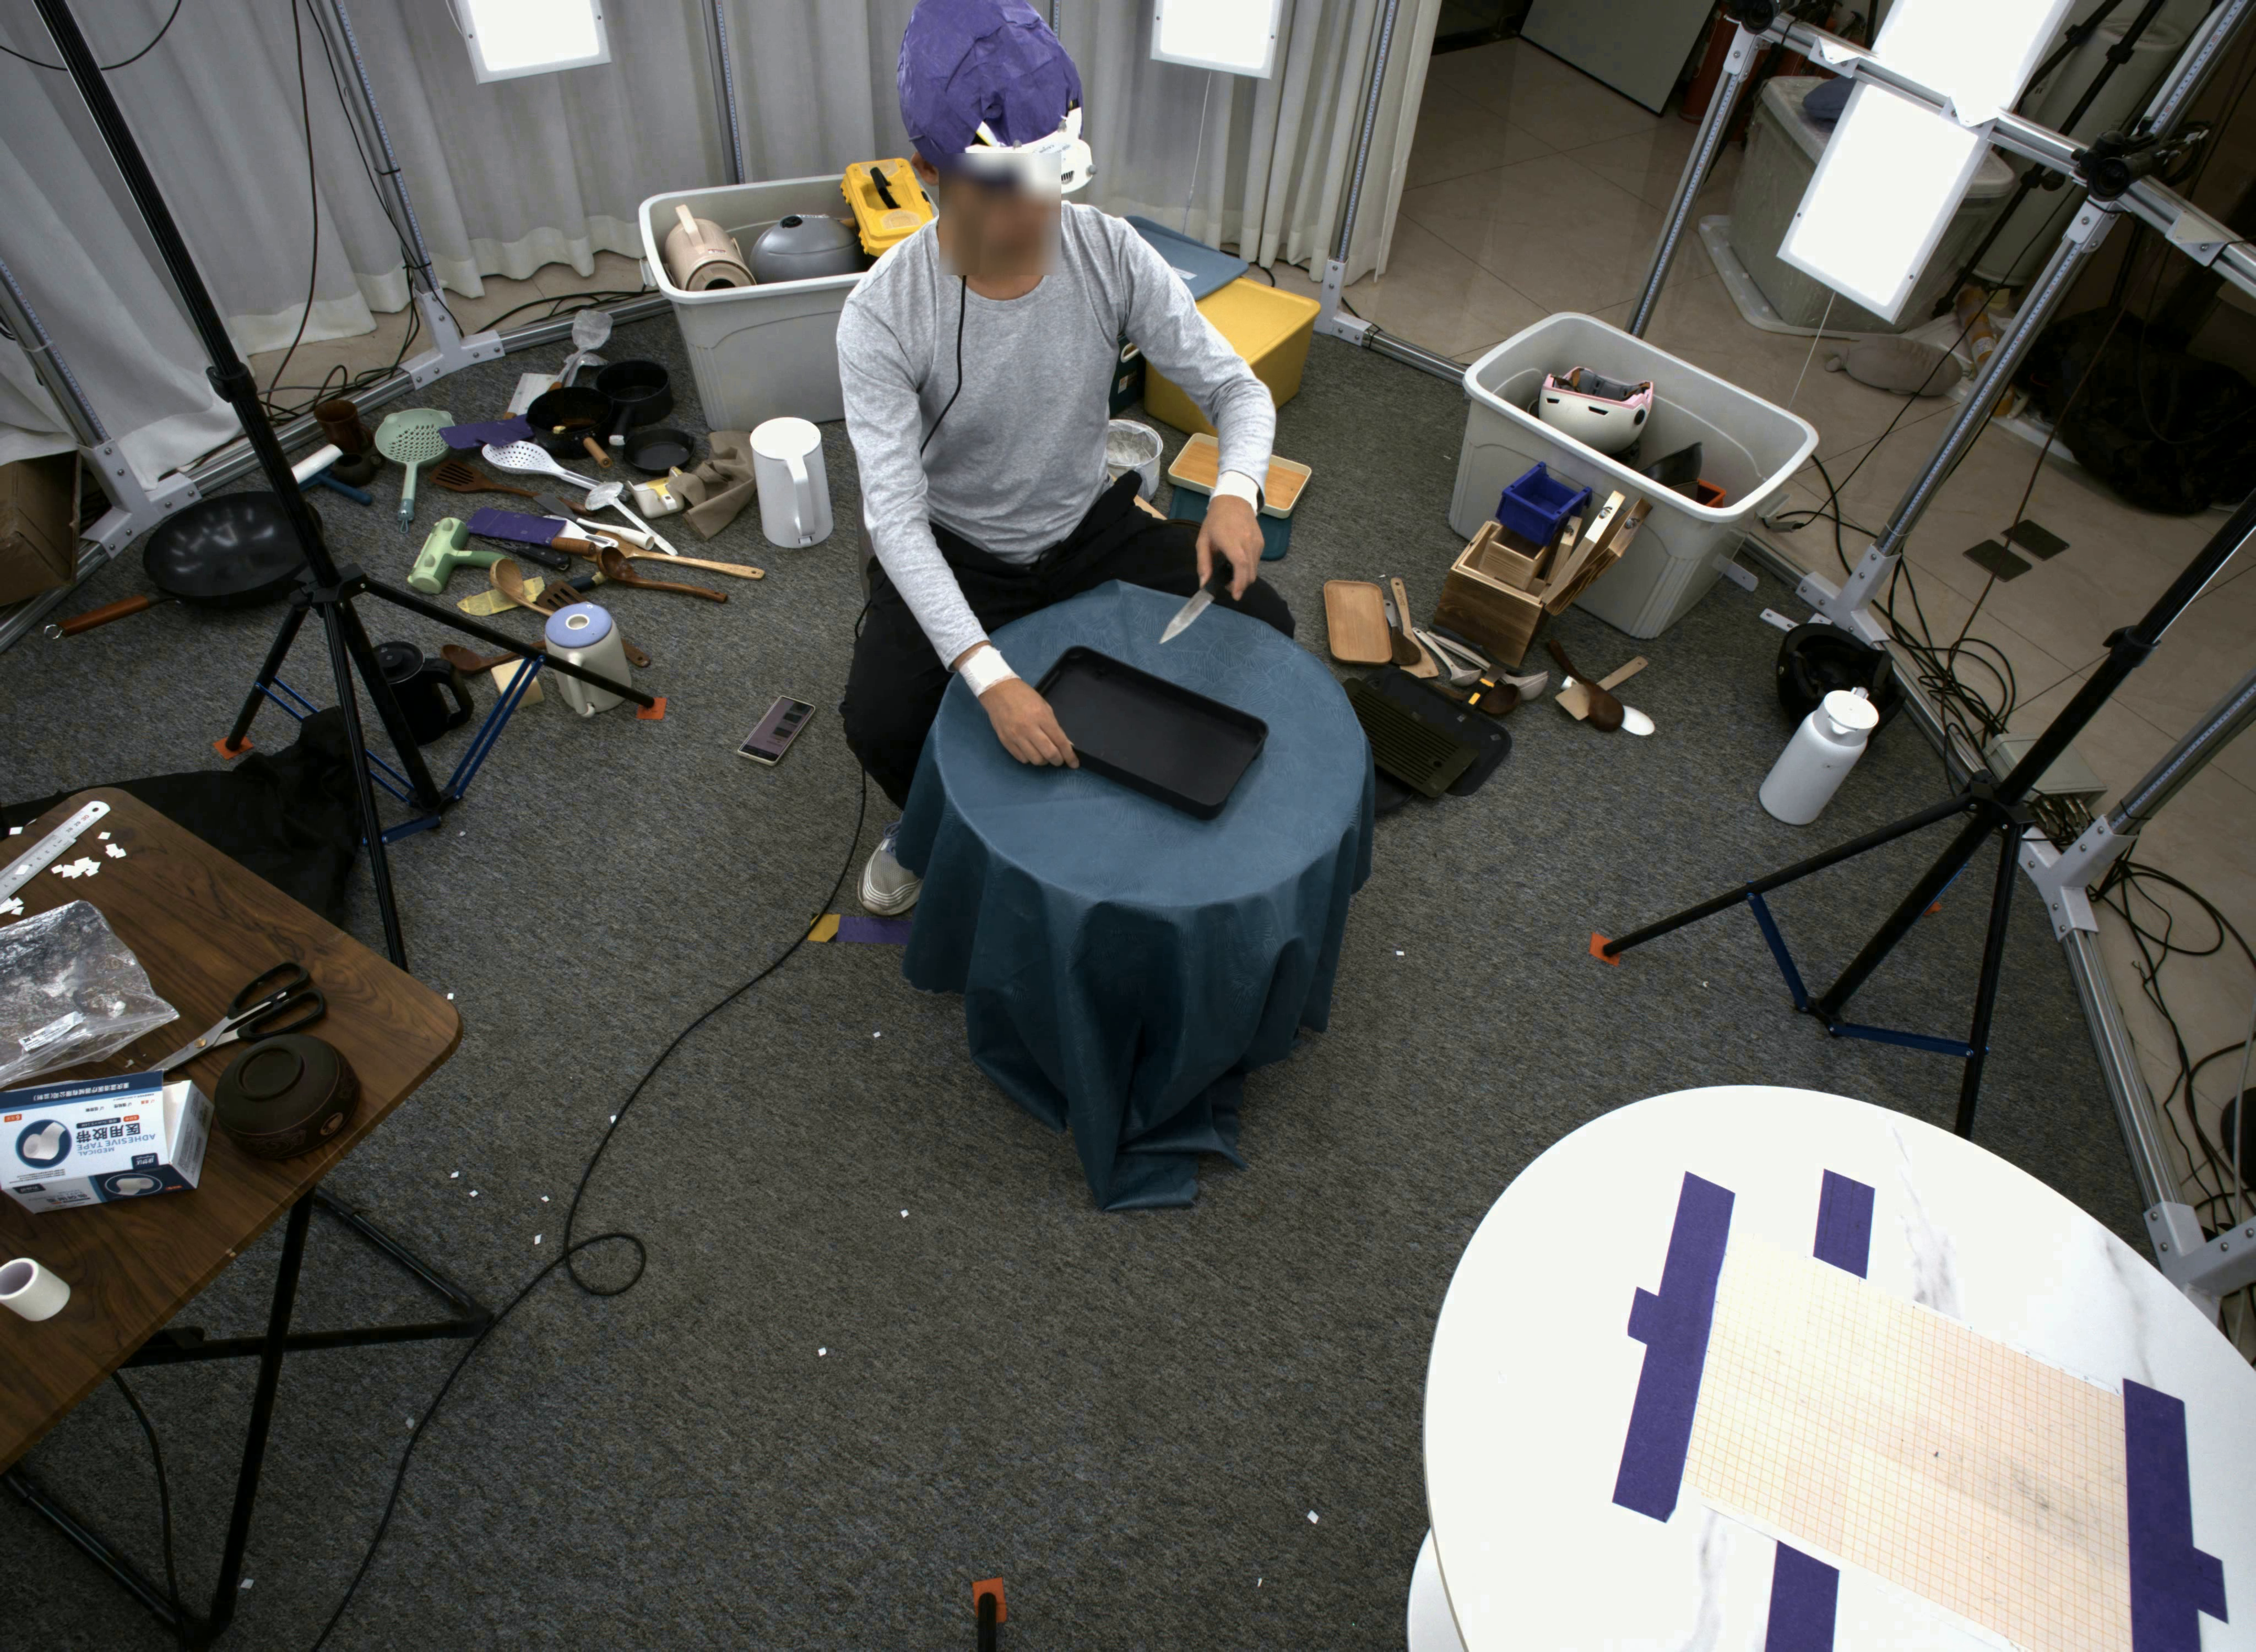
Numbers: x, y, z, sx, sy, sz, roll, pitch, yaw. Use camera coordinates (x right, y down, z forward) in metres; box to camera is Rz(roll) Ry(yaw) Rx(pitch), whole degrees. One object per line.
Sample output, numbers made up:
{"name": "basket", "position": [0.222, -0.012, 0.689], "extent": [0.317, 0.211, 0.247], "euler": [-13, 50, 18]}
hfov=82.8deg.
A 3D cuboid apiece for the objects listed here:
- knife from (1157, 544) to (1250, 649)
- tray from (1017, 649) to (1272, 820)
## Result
{"name": "knife", "position": [0.096, -0.300, 1.665], "extent": [0.024, 0.016, 0.242], "euler": [45, 54, -9]}
{"name": "tray", "position": [0.022, -0.130, 1.759], "extent": [0.320, 0.036, 0.187], "euler": [23, 51, 16]}
